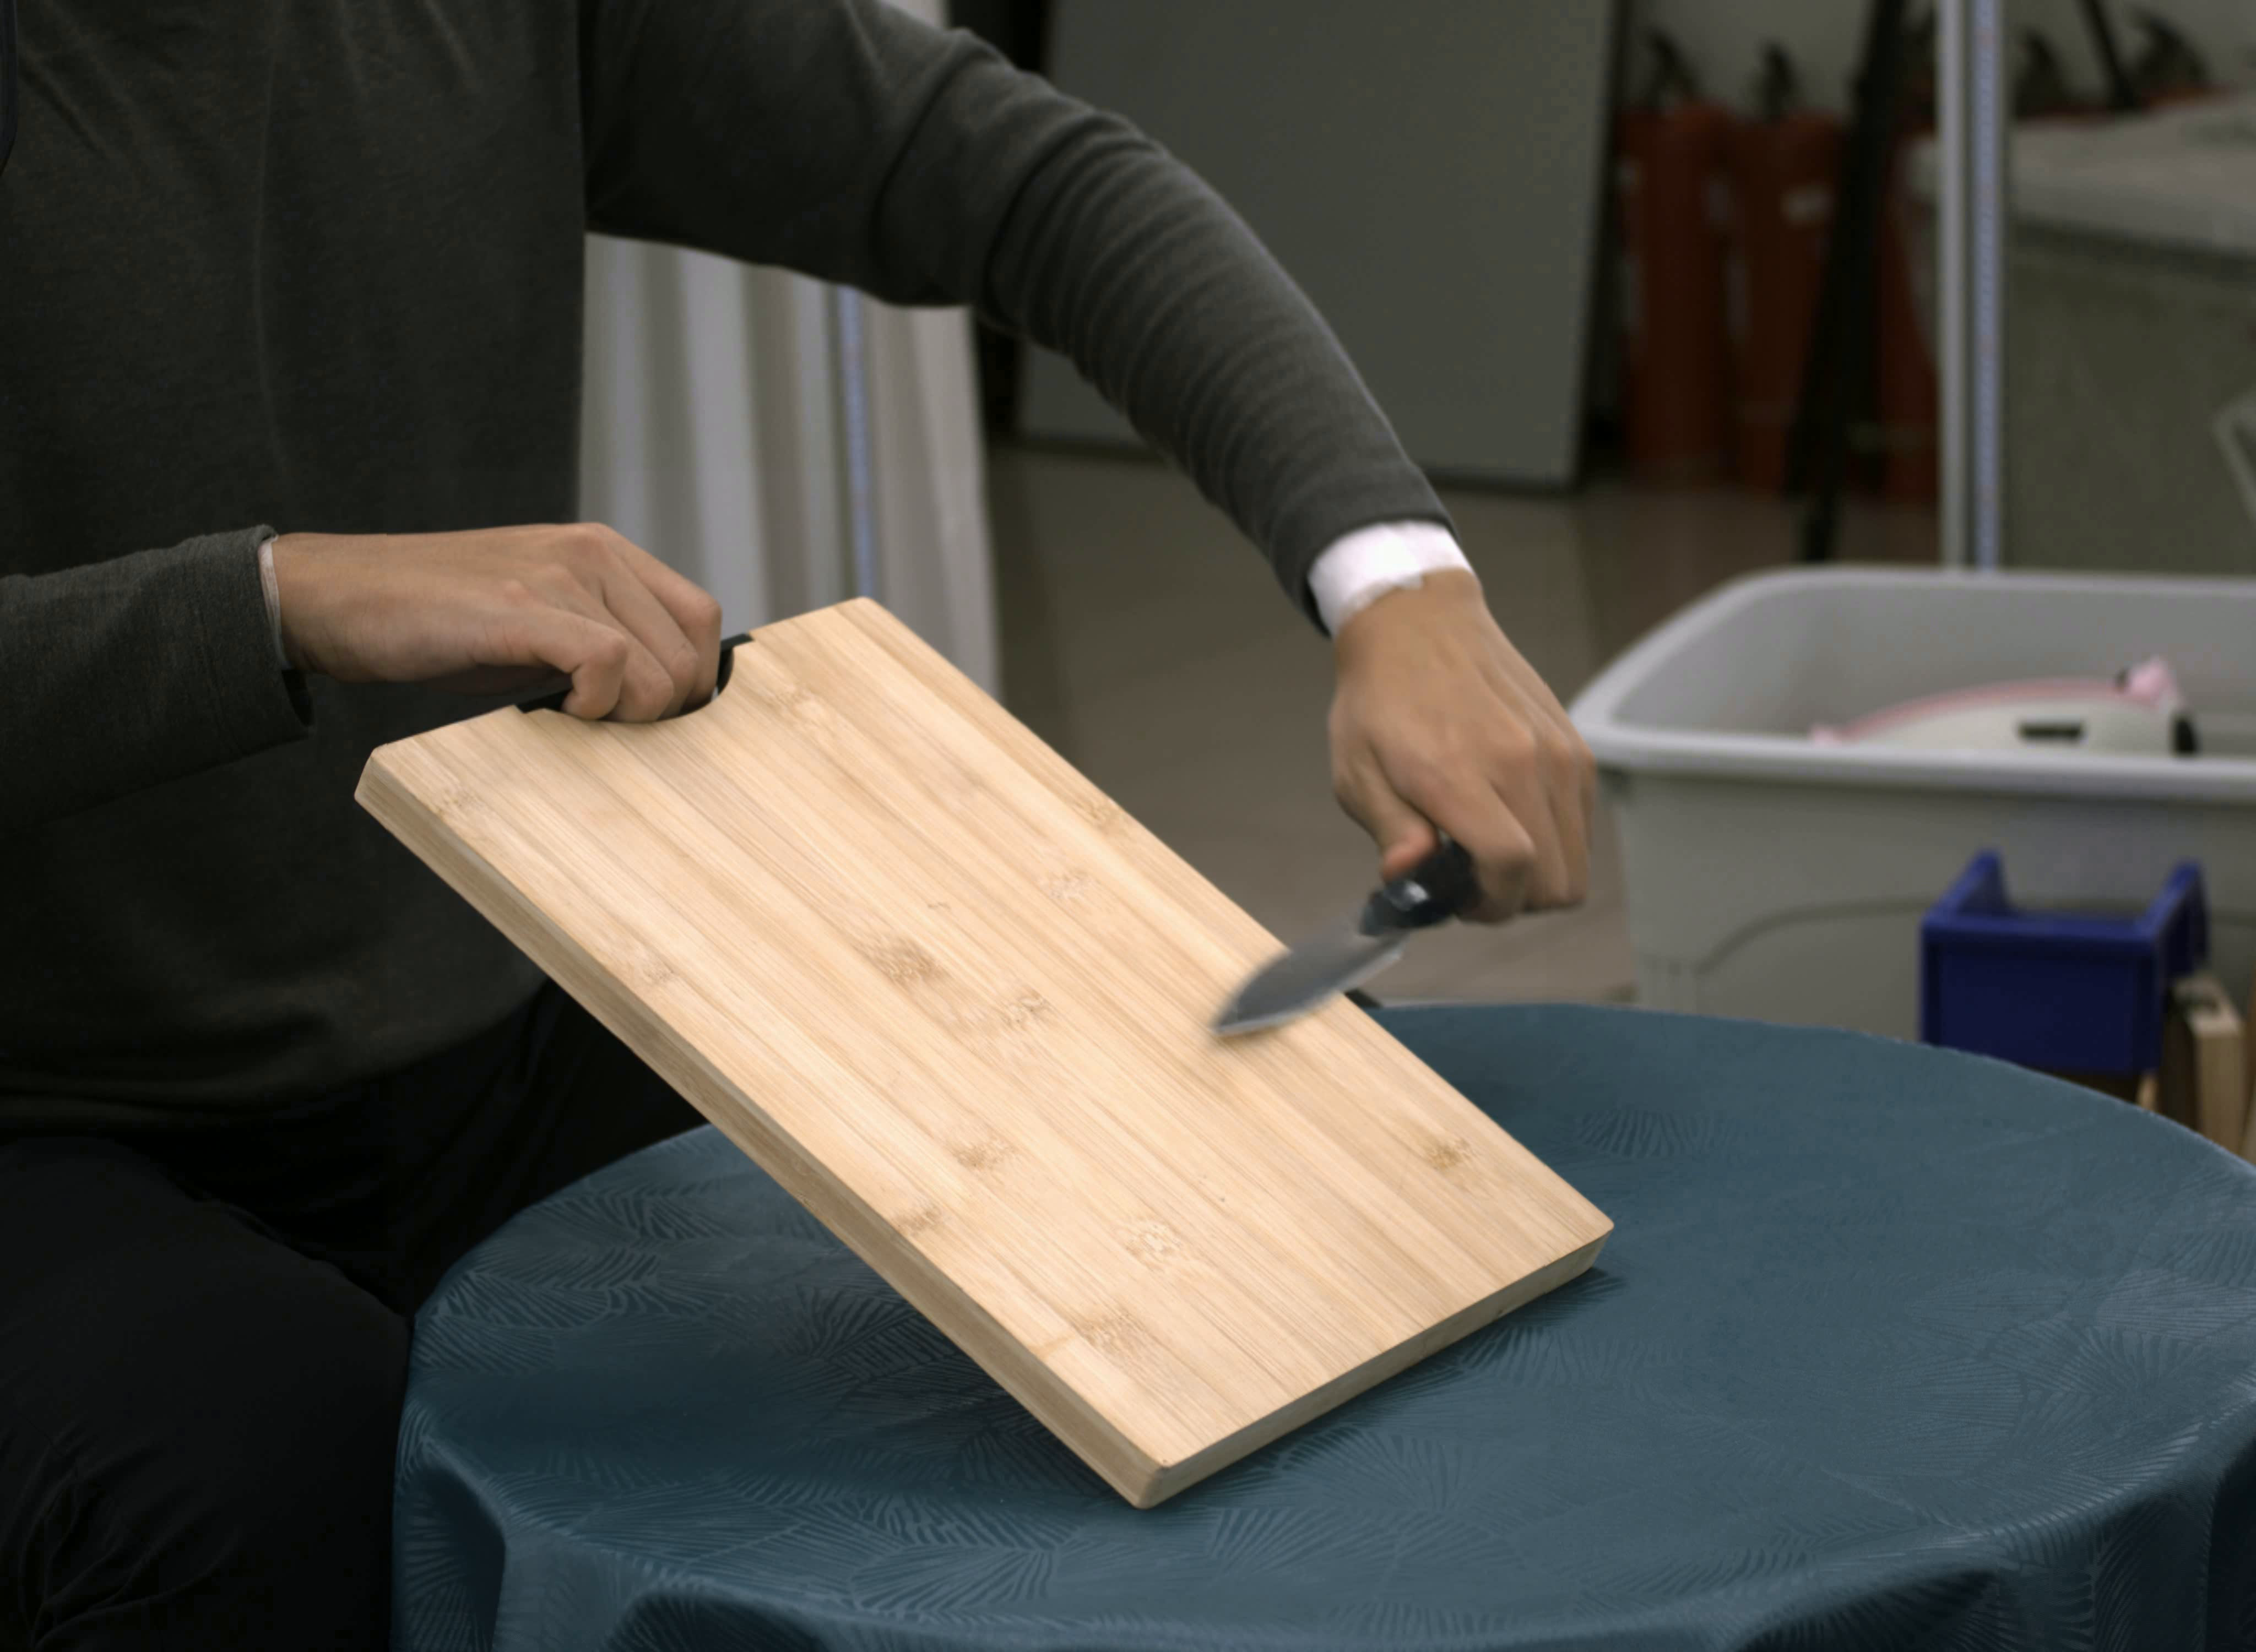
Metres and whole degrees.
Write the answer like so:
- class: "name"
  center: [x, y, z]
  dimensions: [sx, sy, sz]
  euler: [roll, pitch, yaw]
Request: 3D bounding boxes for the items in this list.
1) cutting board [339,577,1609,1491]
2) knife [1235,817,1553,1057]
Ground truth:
- class: "cutting board"
  center: [-0.045, 0.053, 1.647]
  dimensions: [0.351, 0.024, 0.246]
  euler: [40, 34, 23]
- class: "knife"
  center: [0.085, 0.035, 1.747]
  dimensions: [0.024, 0.016, 0.235]
  euler: [42, 31, 10]
